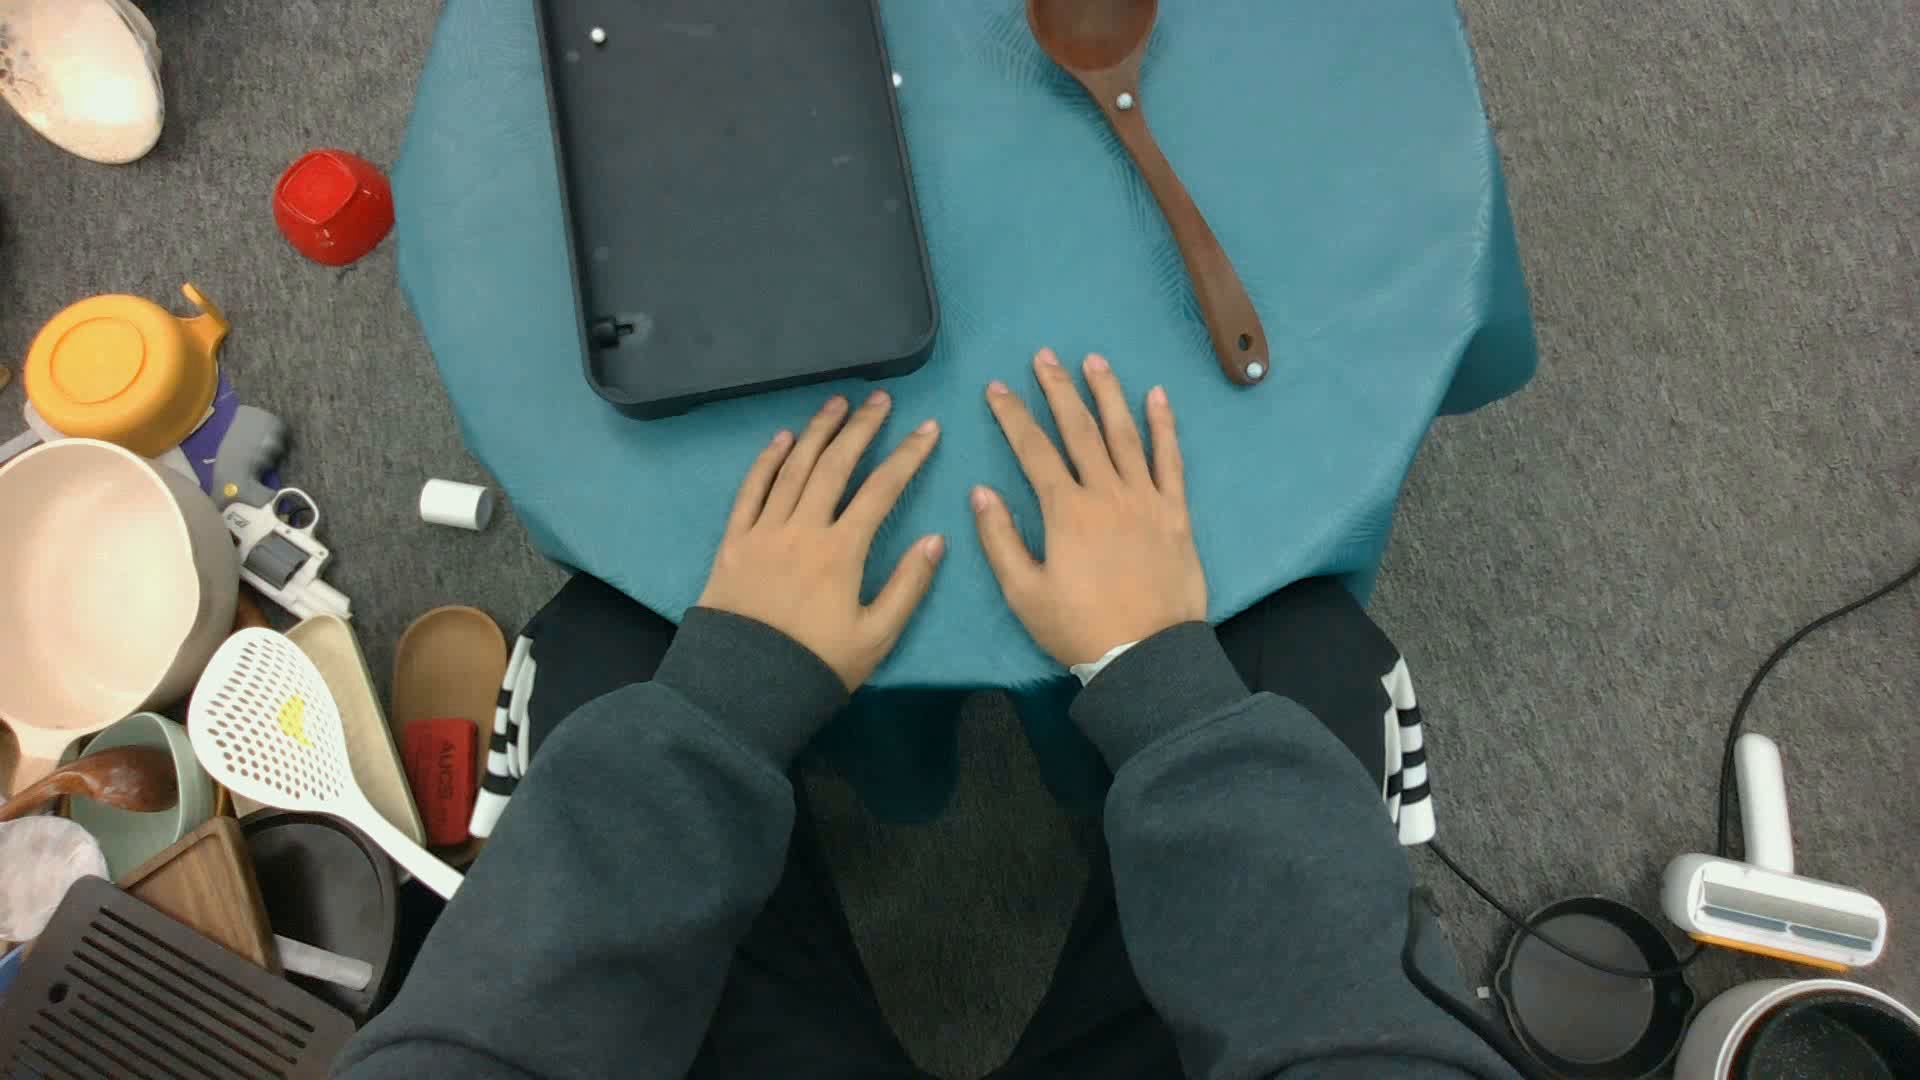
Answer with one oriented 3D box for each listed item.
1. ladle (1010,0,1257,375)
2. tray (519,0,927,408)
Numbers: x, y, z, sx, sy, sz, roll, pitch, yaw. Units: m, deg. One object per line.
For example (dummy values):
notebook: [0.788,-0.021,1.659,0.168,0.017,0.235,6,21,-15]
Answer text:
ladle: [0.100,-0.210,0.729,0.076,0.065,0.260,-22,78,-6]
tray: [-0.134,-0.233,0.741,0.184,0.037,0.318,-11,76,-4]
